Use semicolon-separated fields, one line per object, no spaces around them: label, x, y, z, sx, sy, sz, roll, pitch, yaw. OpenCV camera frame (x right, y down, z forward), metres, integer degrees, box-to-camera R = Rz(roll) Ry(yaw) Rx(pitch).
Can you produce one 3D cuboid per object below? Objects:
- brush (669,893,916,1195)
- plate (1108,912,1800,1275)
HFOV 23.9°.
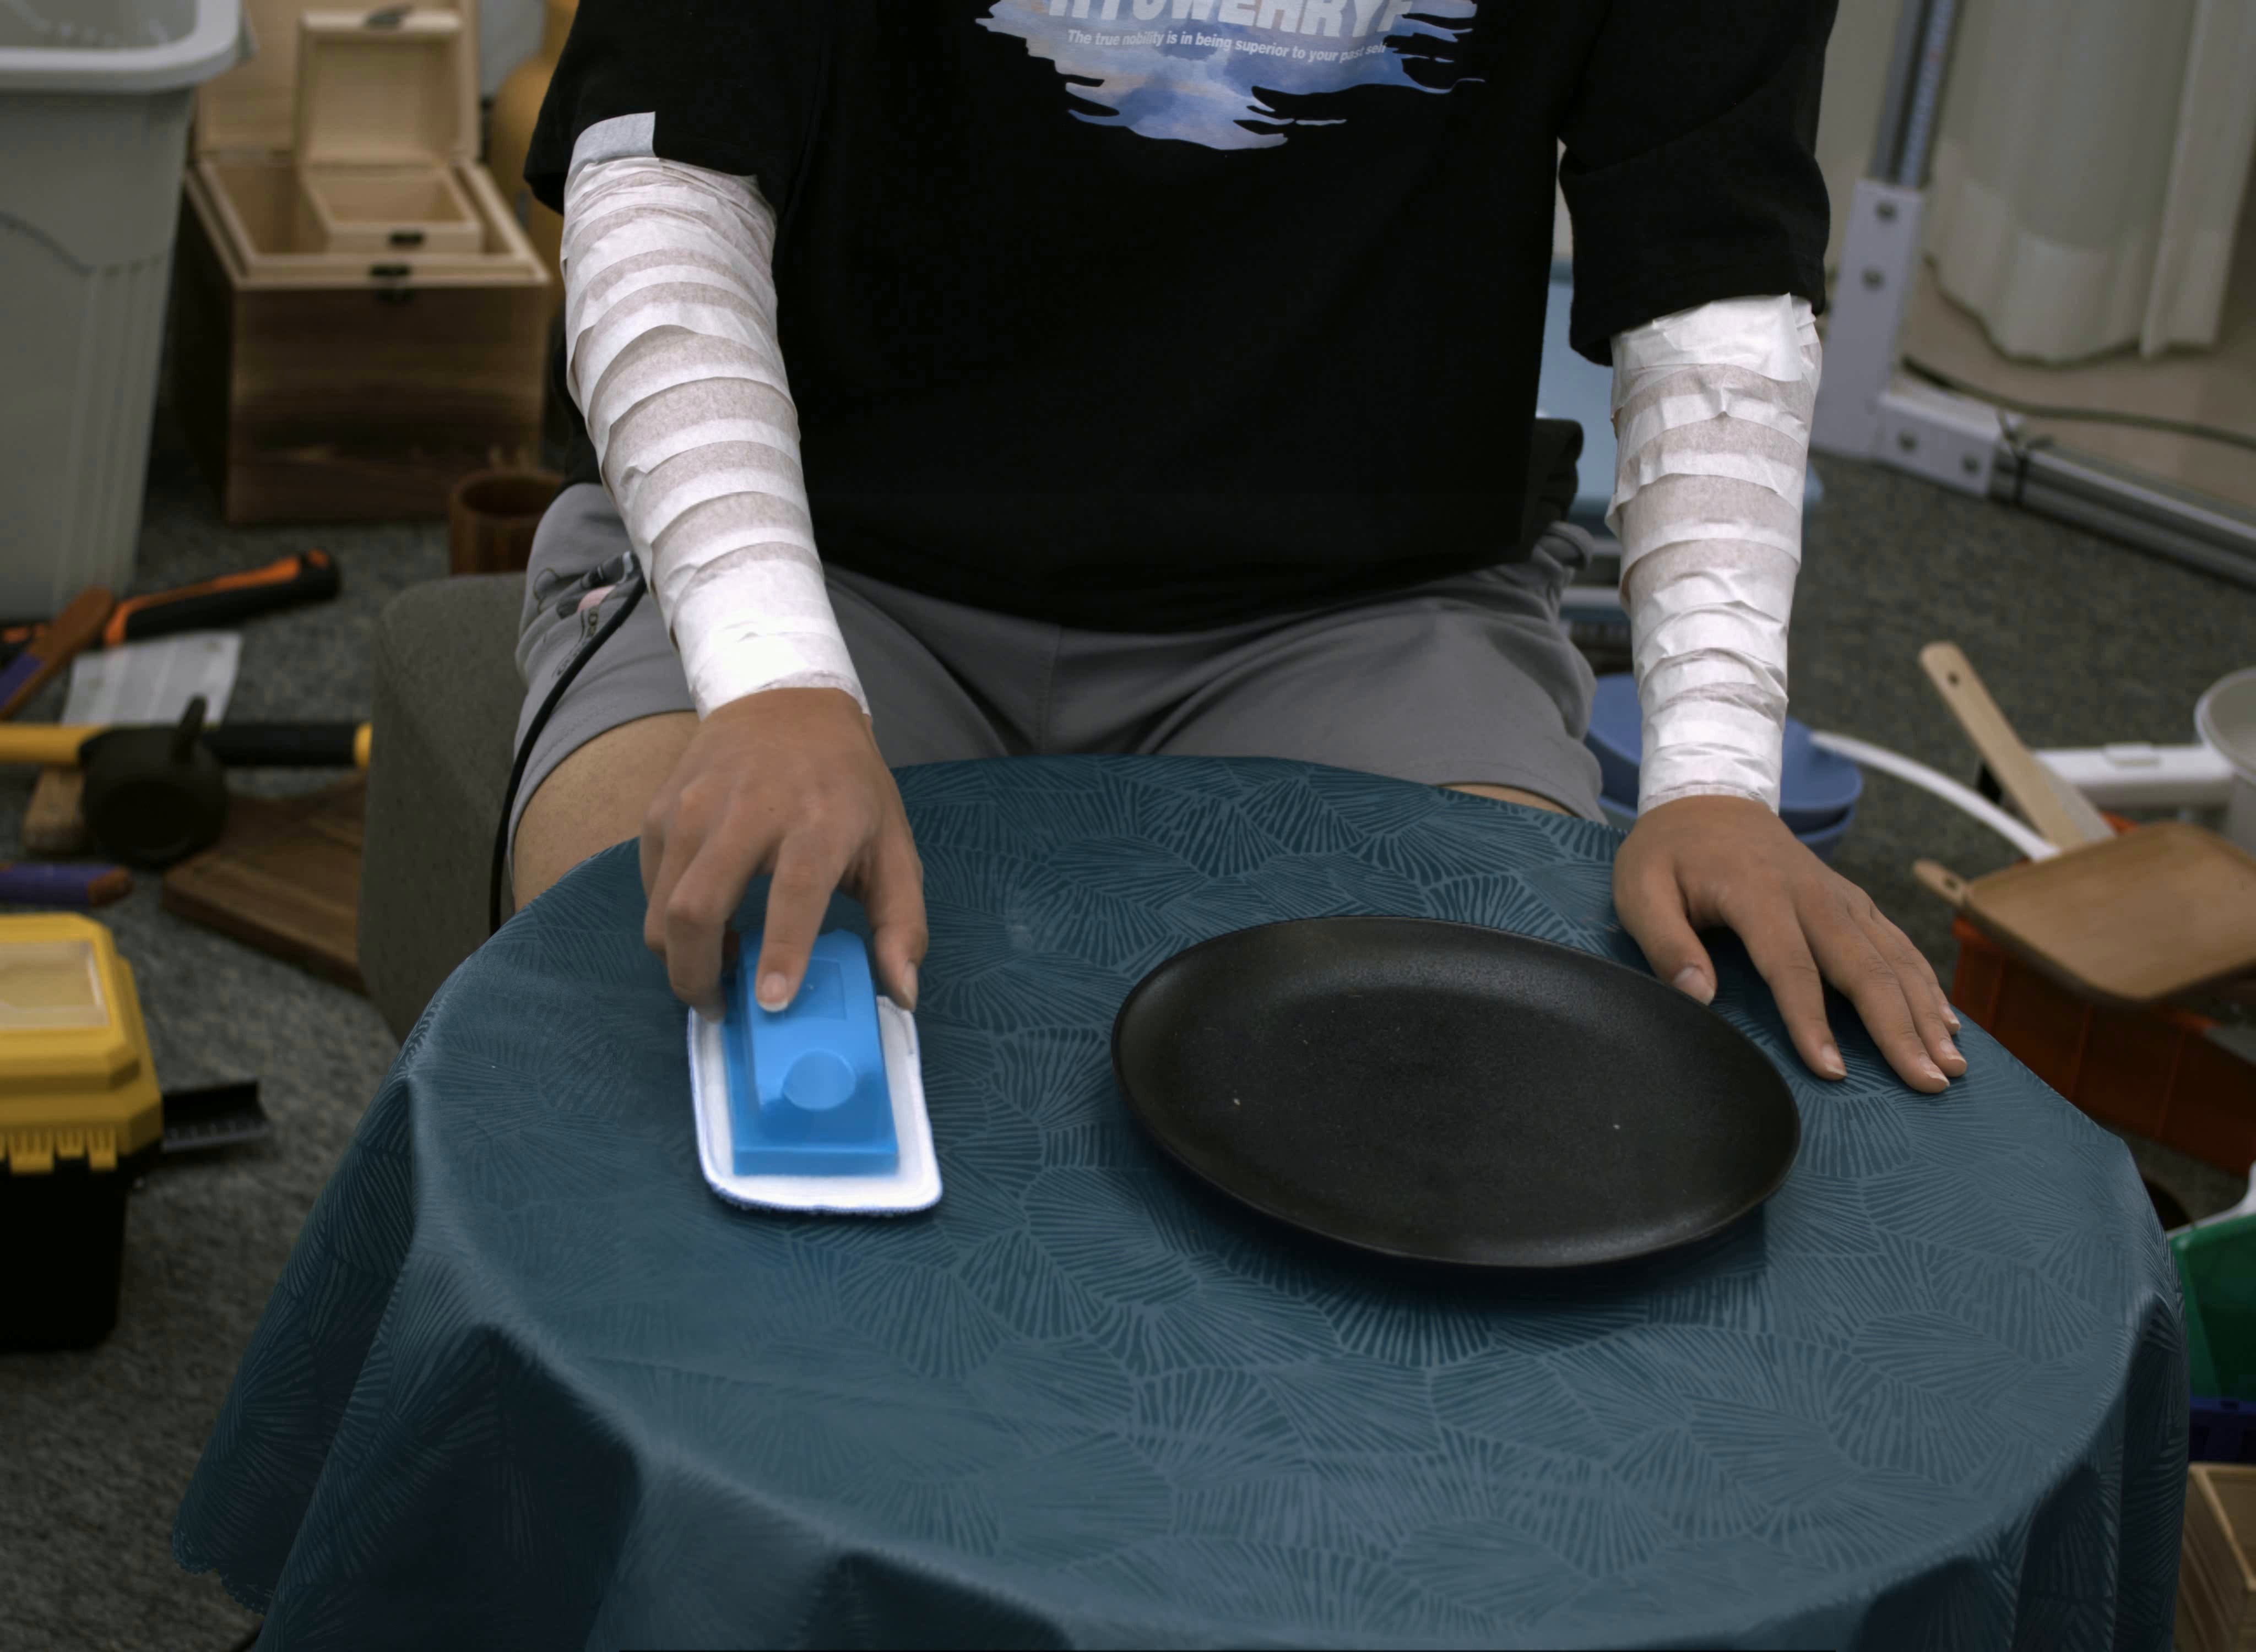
brush;-0.111;0.069;1.816;0.083;0.056;0.145;5;30;-11
plate;0.112;0.097;1.856;0.243;0.023;0.246;5;27;-3
